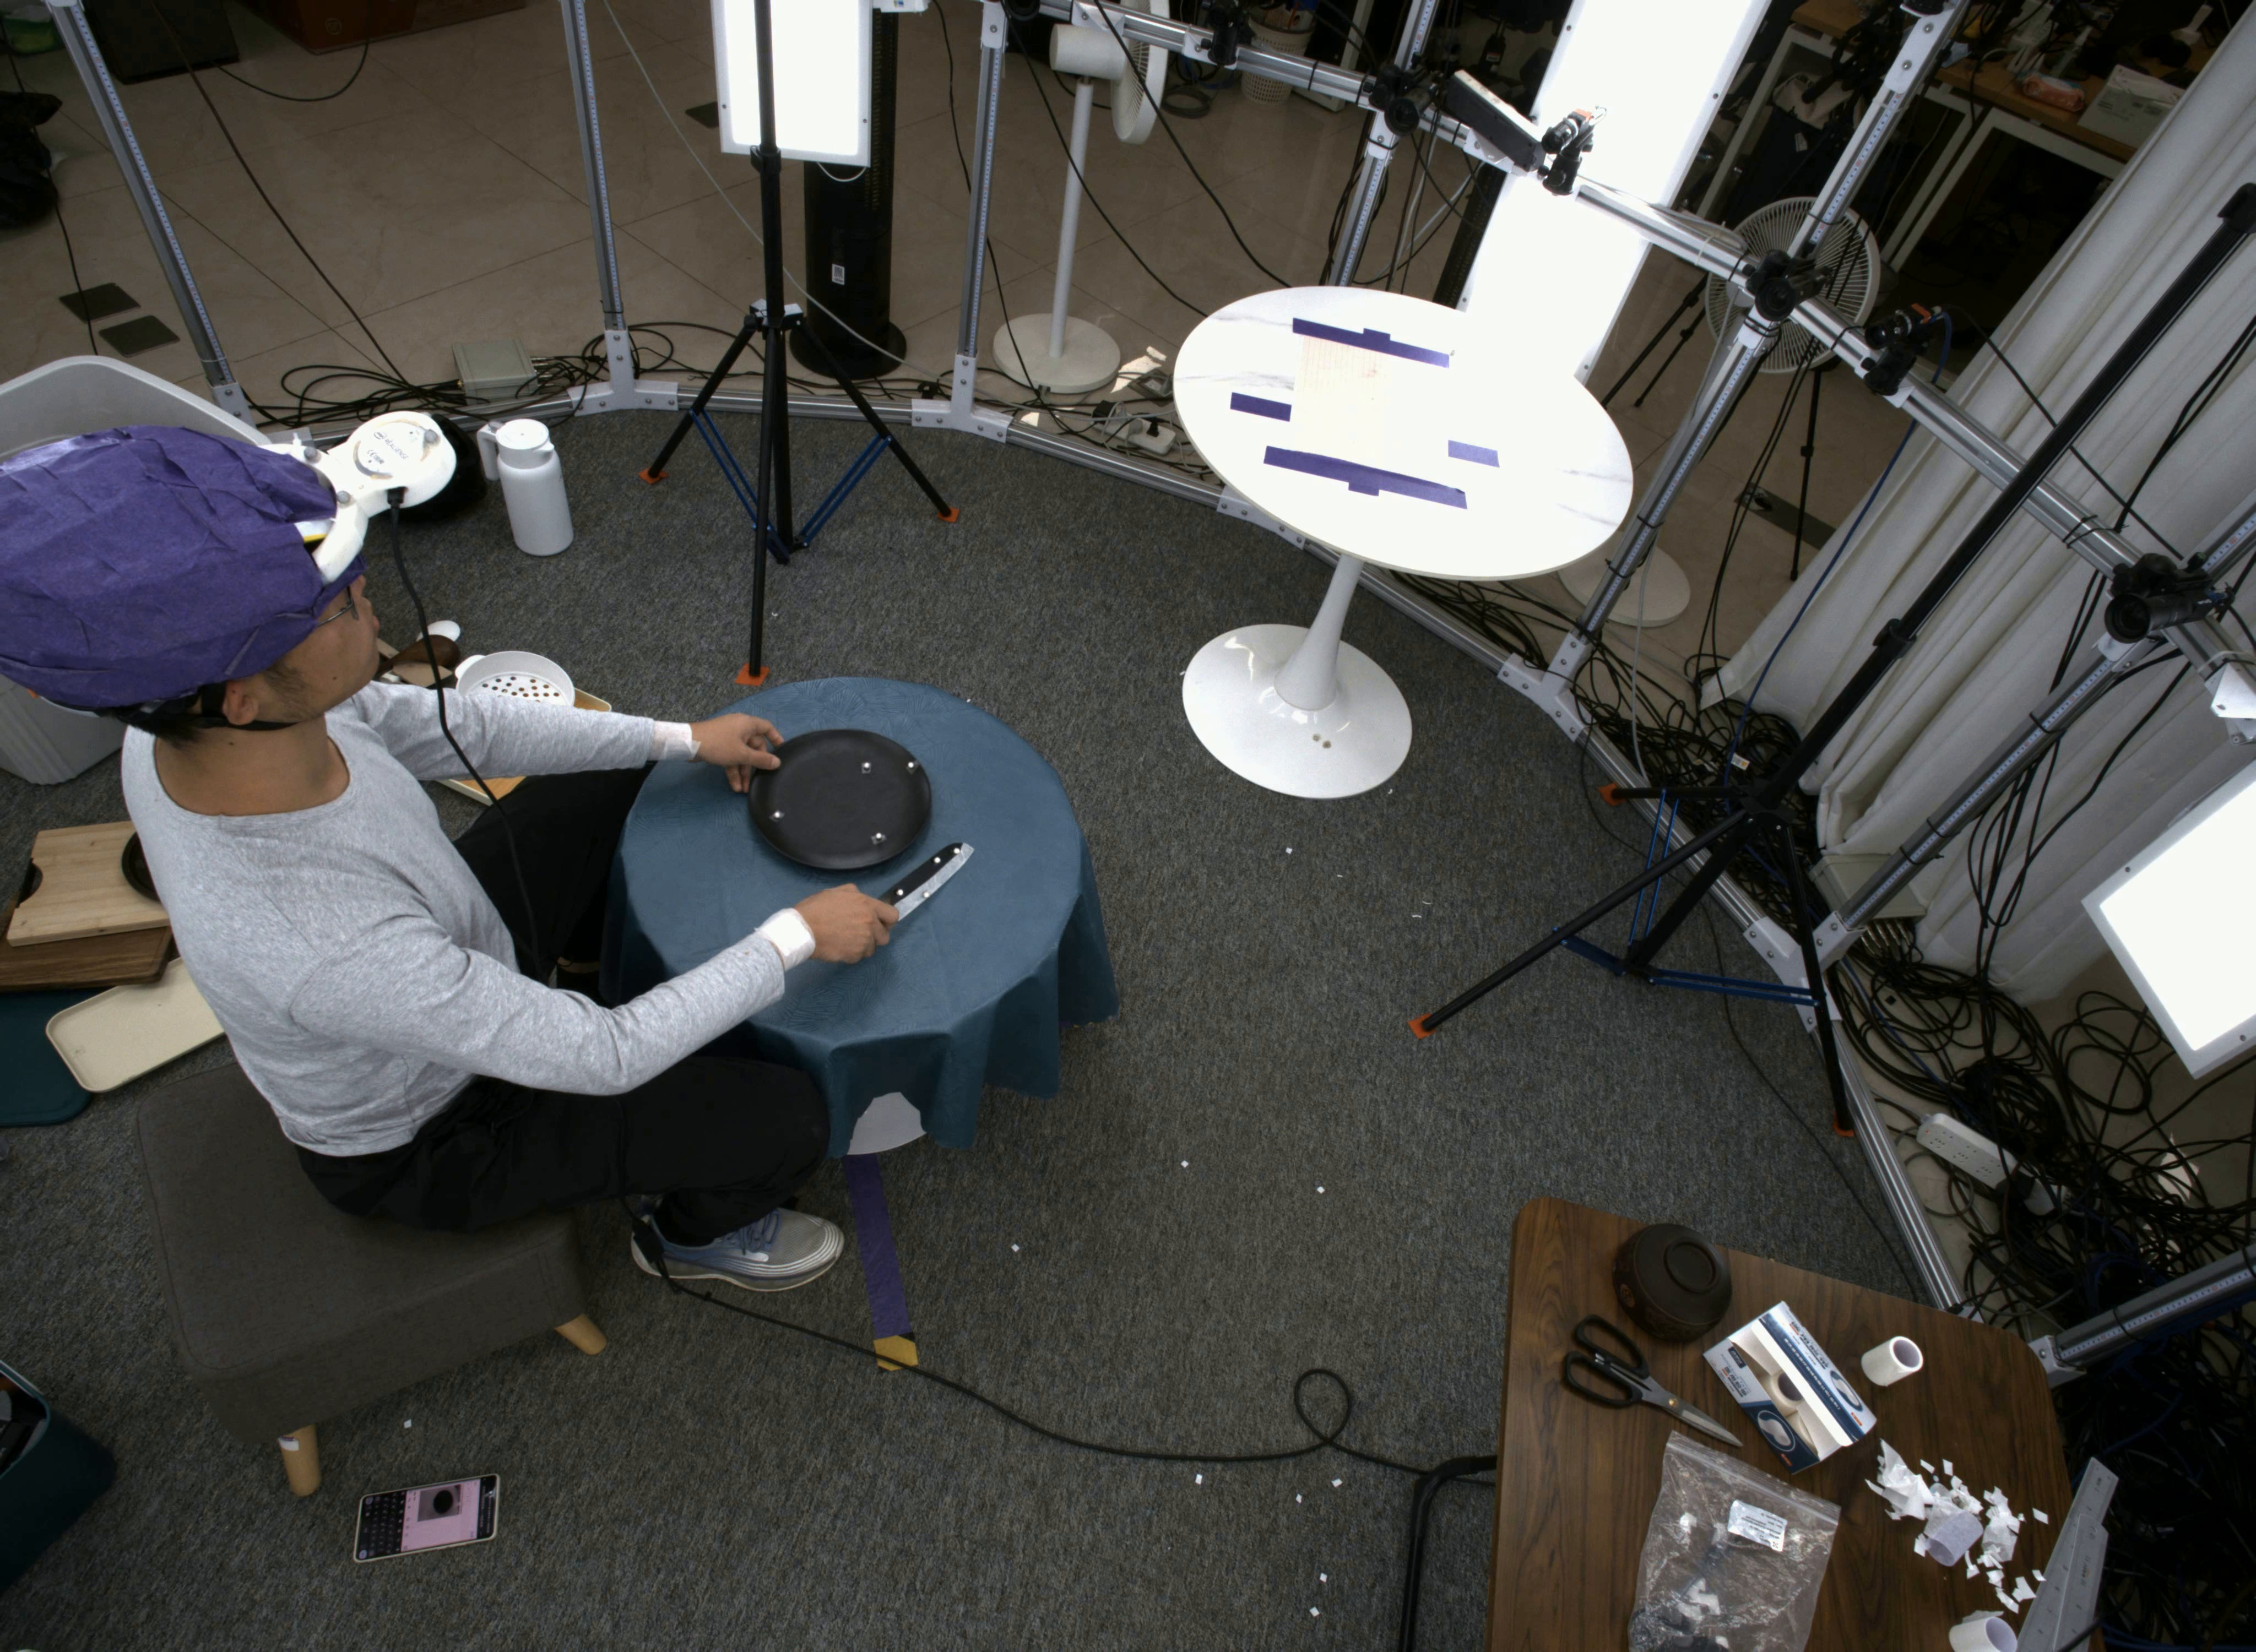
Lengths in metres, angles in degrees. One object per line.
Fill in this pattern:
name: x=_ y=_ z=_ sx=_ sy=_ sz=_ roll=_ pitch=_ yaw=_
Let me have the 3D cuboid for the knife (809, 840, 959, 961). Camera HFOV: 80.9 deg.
knife: x=-0.302 y=0.089 z=1.651 sx=0.019 sy=0.052 sz=0.289 roll=2 pitch=27 yaw=34

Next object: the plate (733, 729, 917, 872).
plate: x=-0.407 y=-0.033 z=1.749 sx=0.244 sy=0.024 sz=0.240 roll=8 pitch=53 yaw=-9
